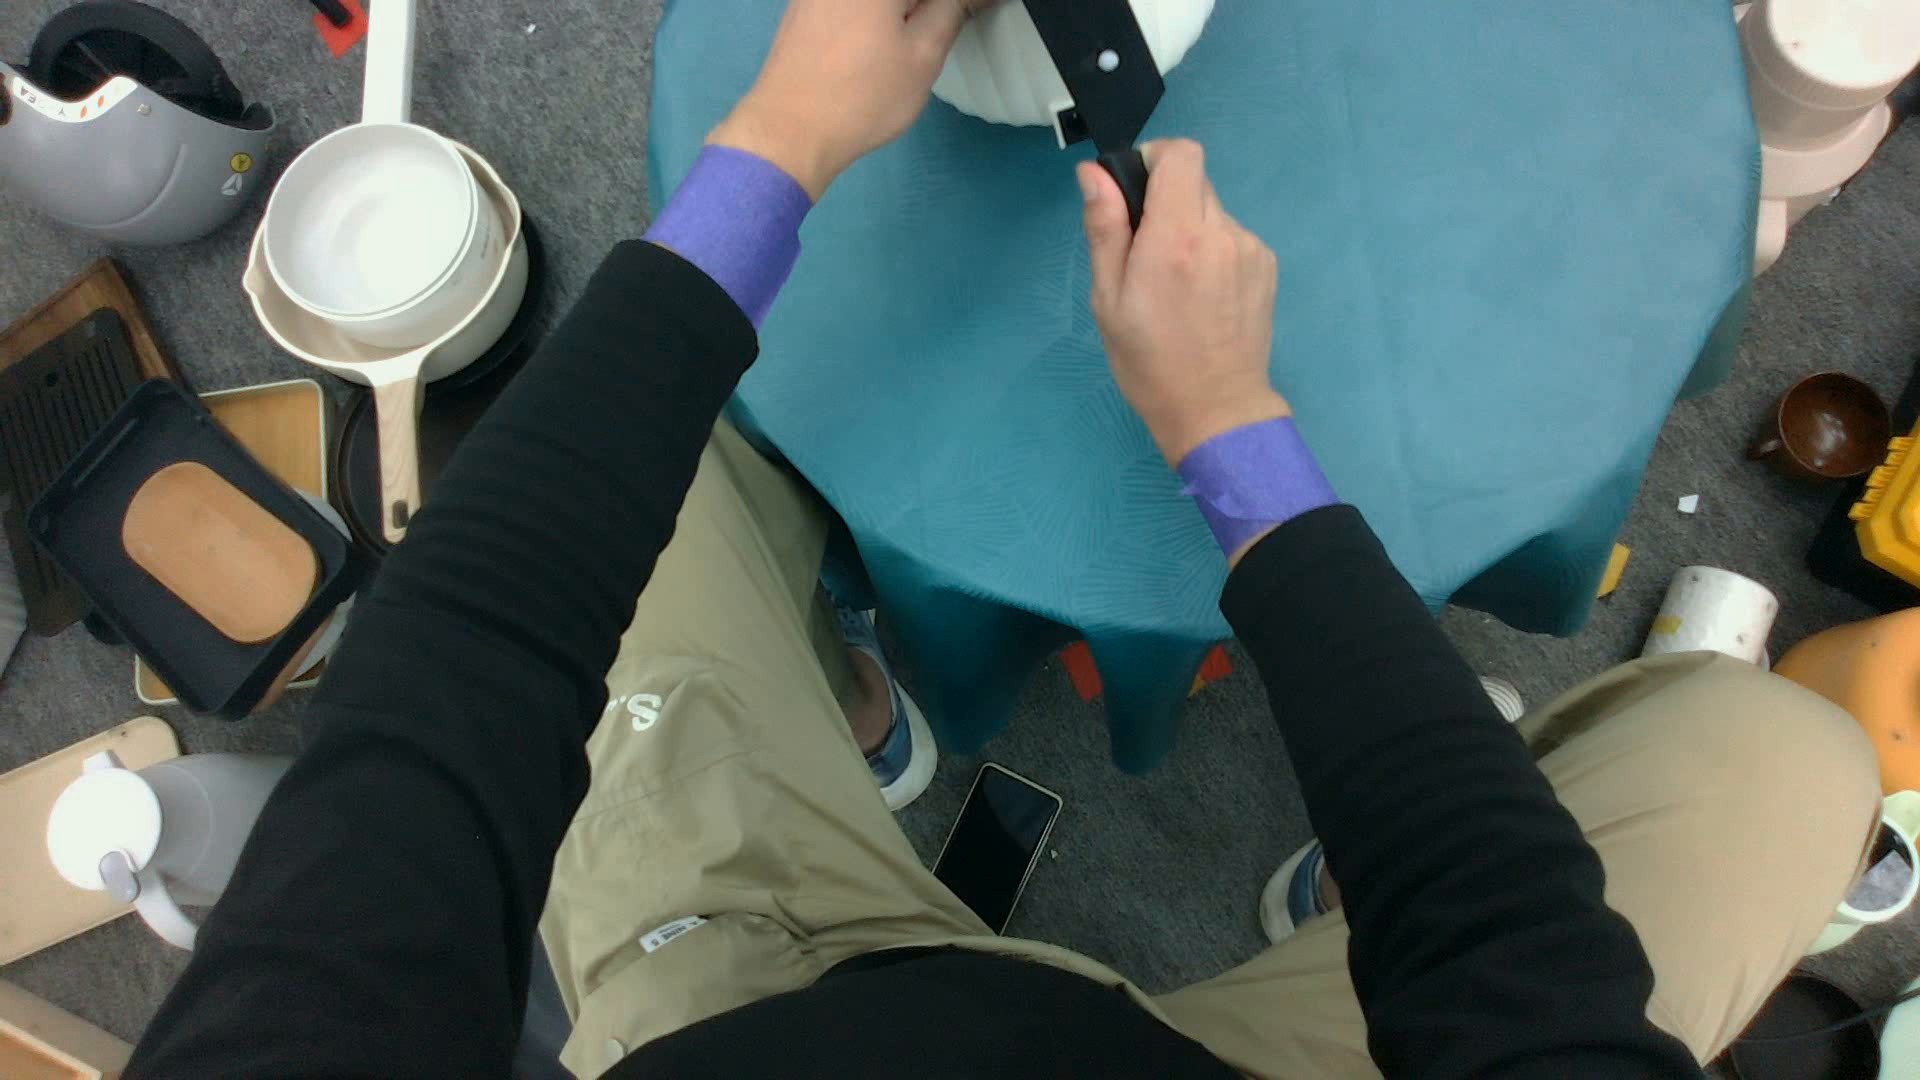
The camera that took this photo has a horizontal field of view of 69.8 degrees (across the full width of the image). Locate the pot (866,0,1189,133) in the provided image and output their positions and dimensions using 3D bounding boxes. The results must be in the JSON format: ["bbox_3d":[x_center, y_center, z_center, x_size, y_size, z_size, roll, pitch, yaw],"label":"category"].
[{"bbox_3d":[0.029,-0.319,0.698,0.240,0.142,0.191,-16,60,7],"label":"pot"}]

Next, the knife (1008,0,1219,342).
[{"bbox_3d":[0.055,-0.209,0.603,0.021,0.301,0.081,3,46,41],"label":"knife"}]
